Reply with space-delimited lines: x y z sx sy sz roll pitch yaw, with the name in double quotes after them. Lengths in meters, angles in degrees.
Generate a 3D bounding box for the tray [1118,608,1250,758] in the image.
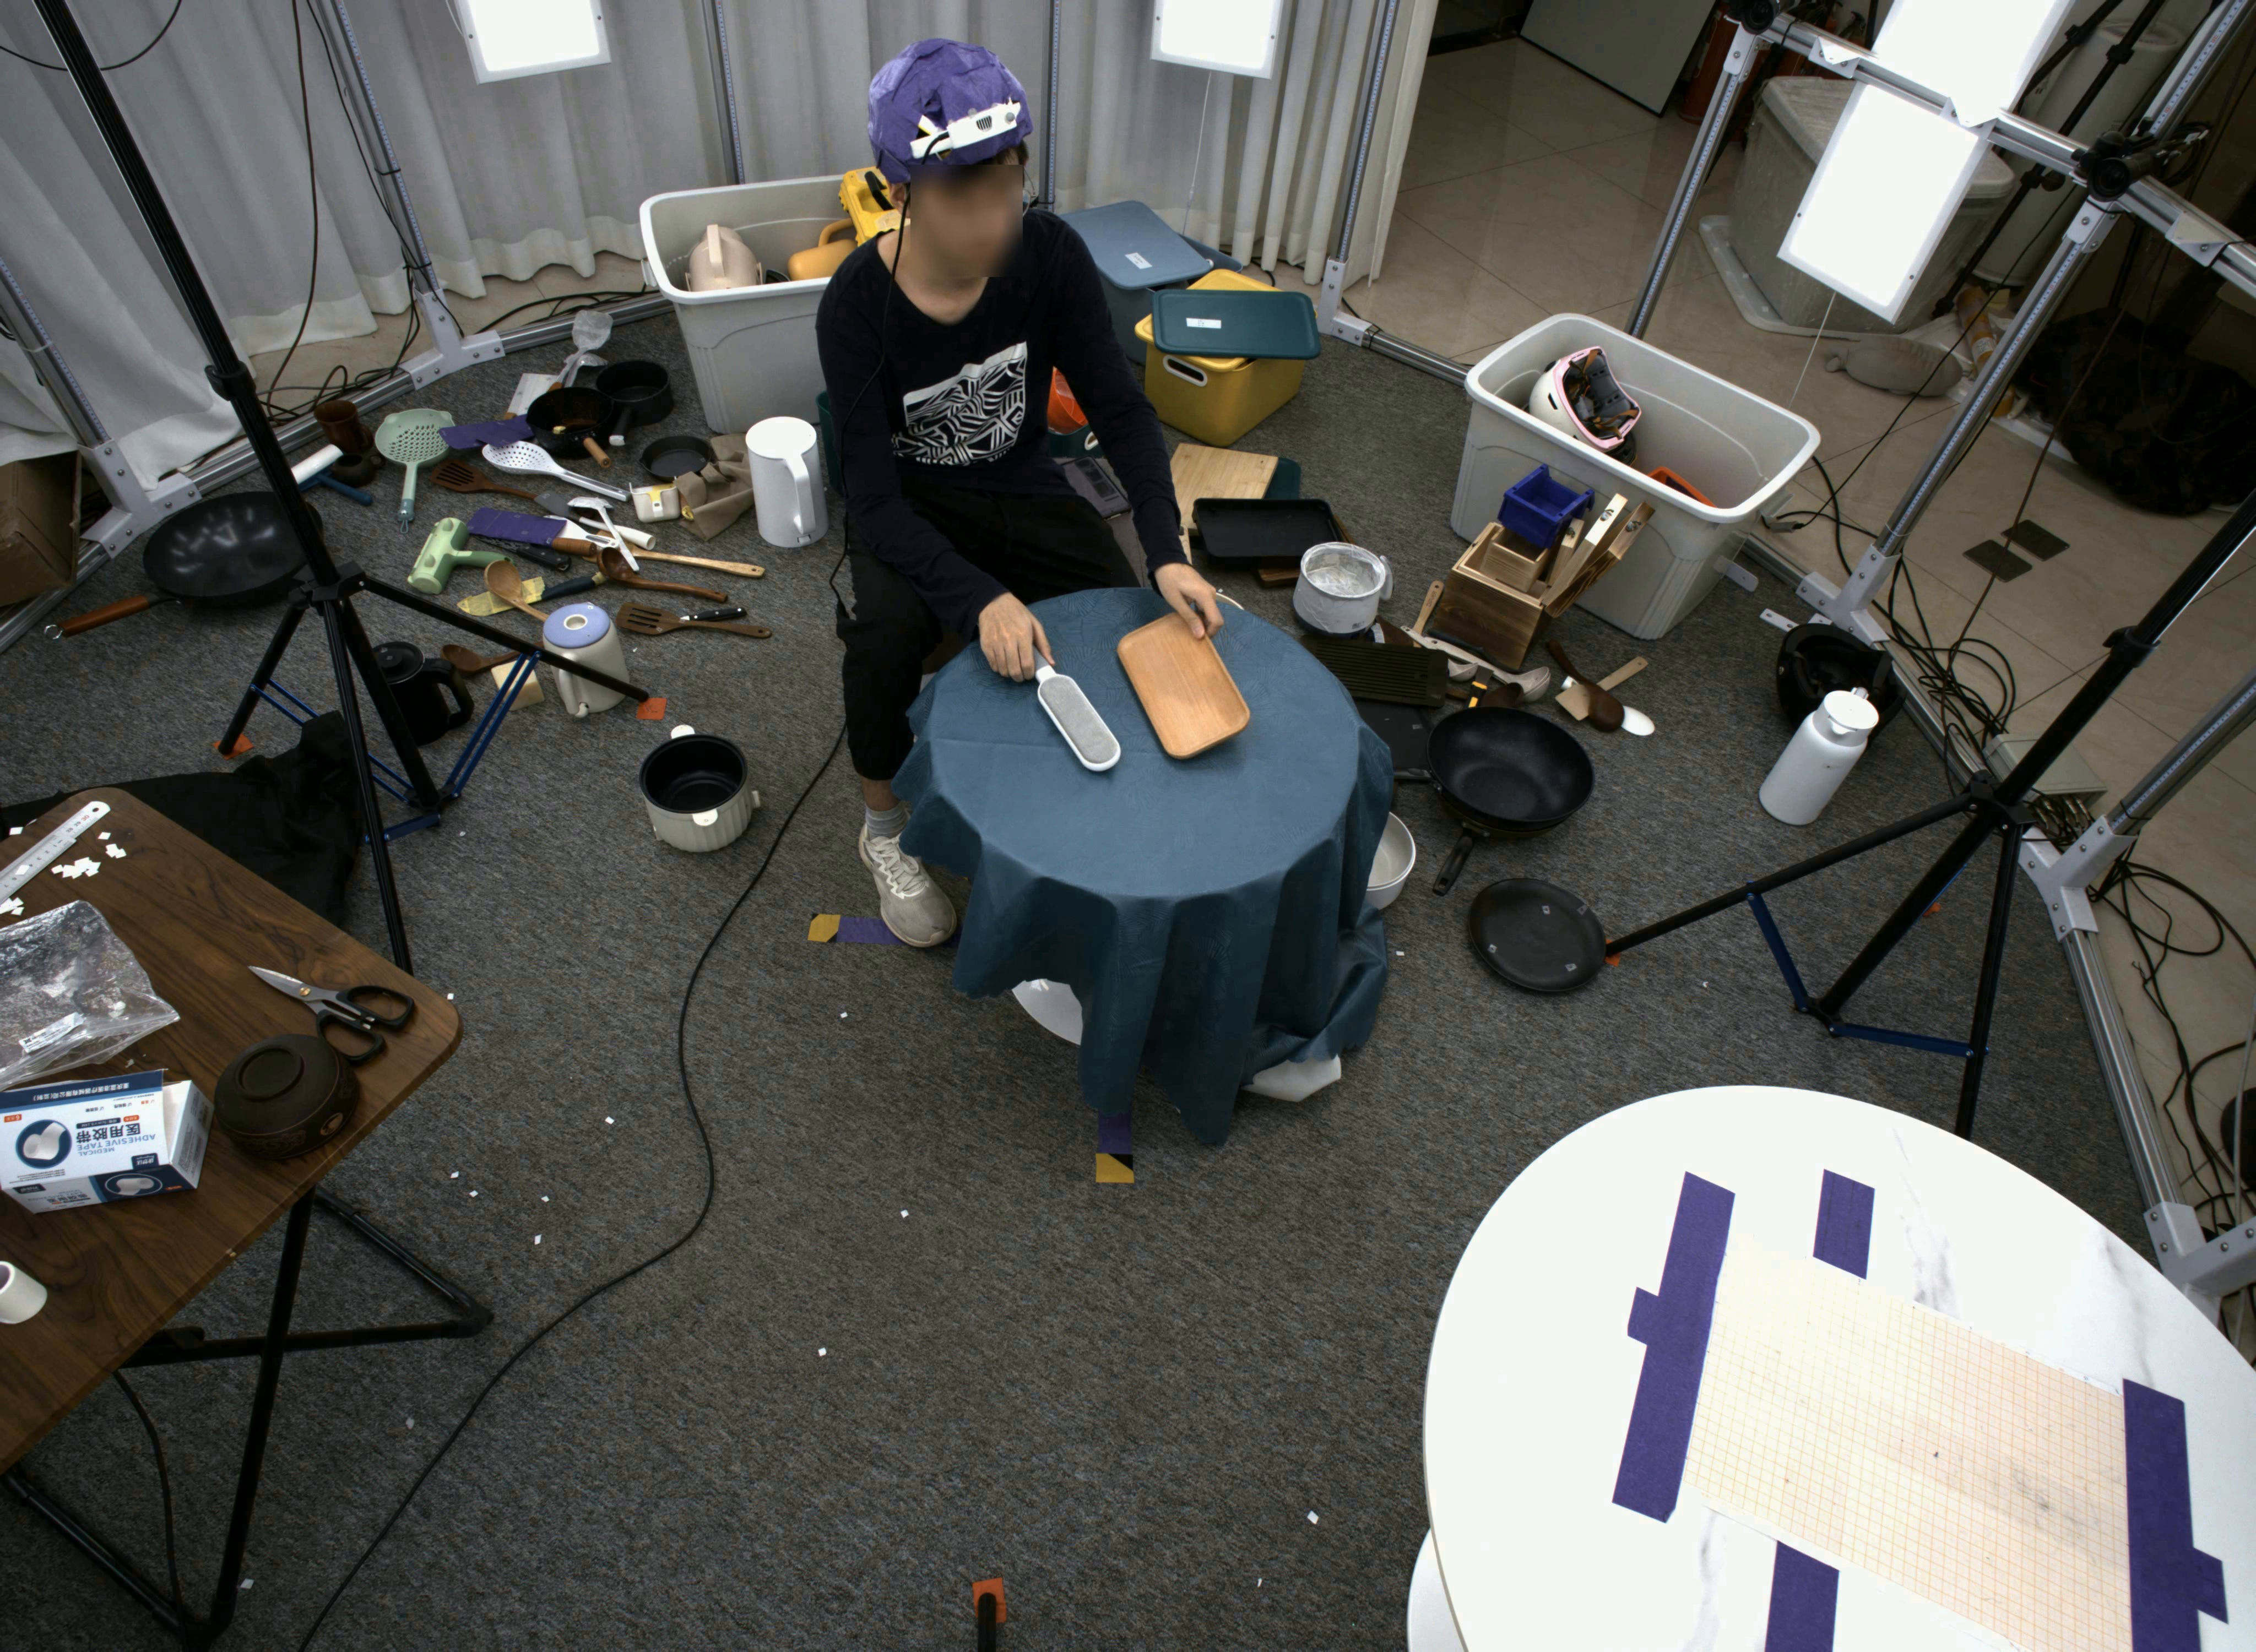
0.077 -0.205 1.813 0.130 0.022 0.257 -22 53 0 "tray"

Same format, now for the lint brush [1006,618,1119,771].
-0.098 -0.190 1.801 0.060 0.020 0.315 -27 57 -9 "lint brush"
